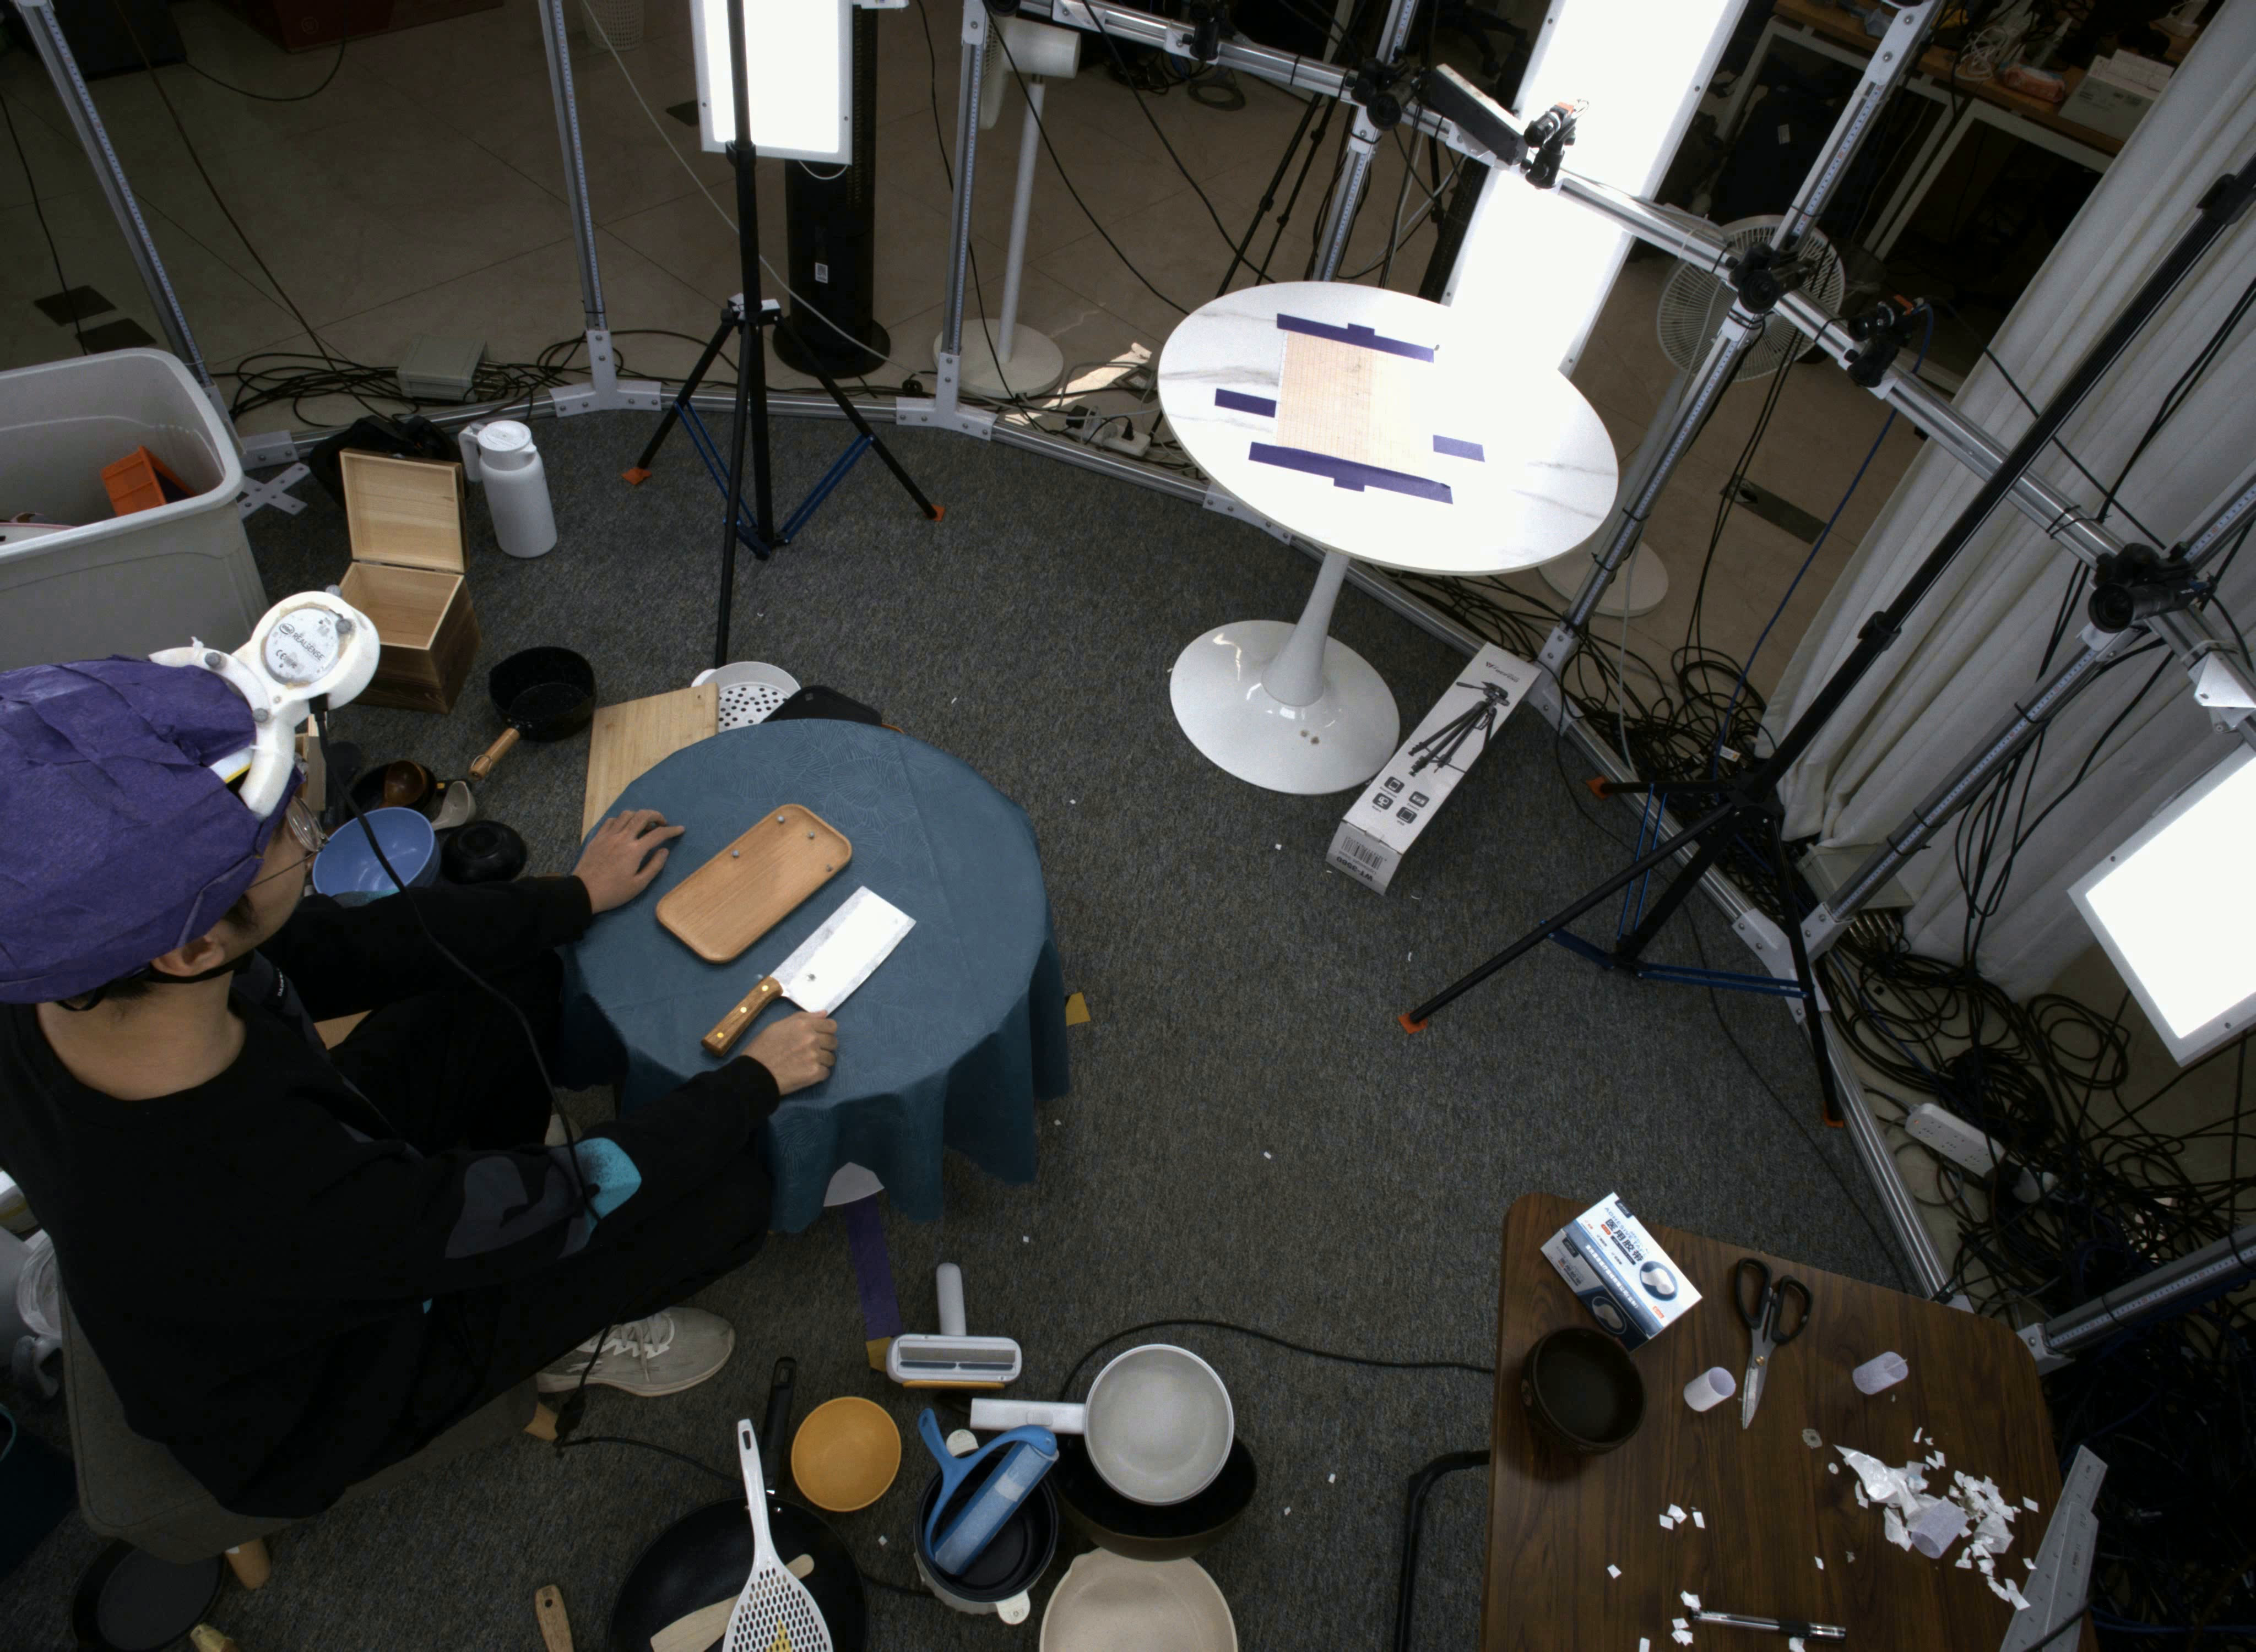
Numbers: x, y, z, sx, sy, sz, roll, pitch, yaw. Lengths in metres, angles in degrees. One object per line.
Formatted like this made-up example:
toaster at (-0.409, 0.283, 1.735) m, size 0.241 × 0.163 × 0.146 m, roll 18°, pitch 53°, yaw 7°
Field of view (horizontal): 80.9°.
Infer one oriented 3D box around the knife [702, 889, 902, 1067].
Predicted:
knife at (-0.384, 0.188, 1.574) m, size 0.091 × 0.021 × 0.305 m, roll 33°, pitch 50°, yaw 9°

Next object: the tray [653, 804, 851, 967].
tray at (-0.473, 0.071, 1.637) m, size 0.128 × 0.023 × 0.250 m, roll 35°, pitch 54°, yaw 15°
